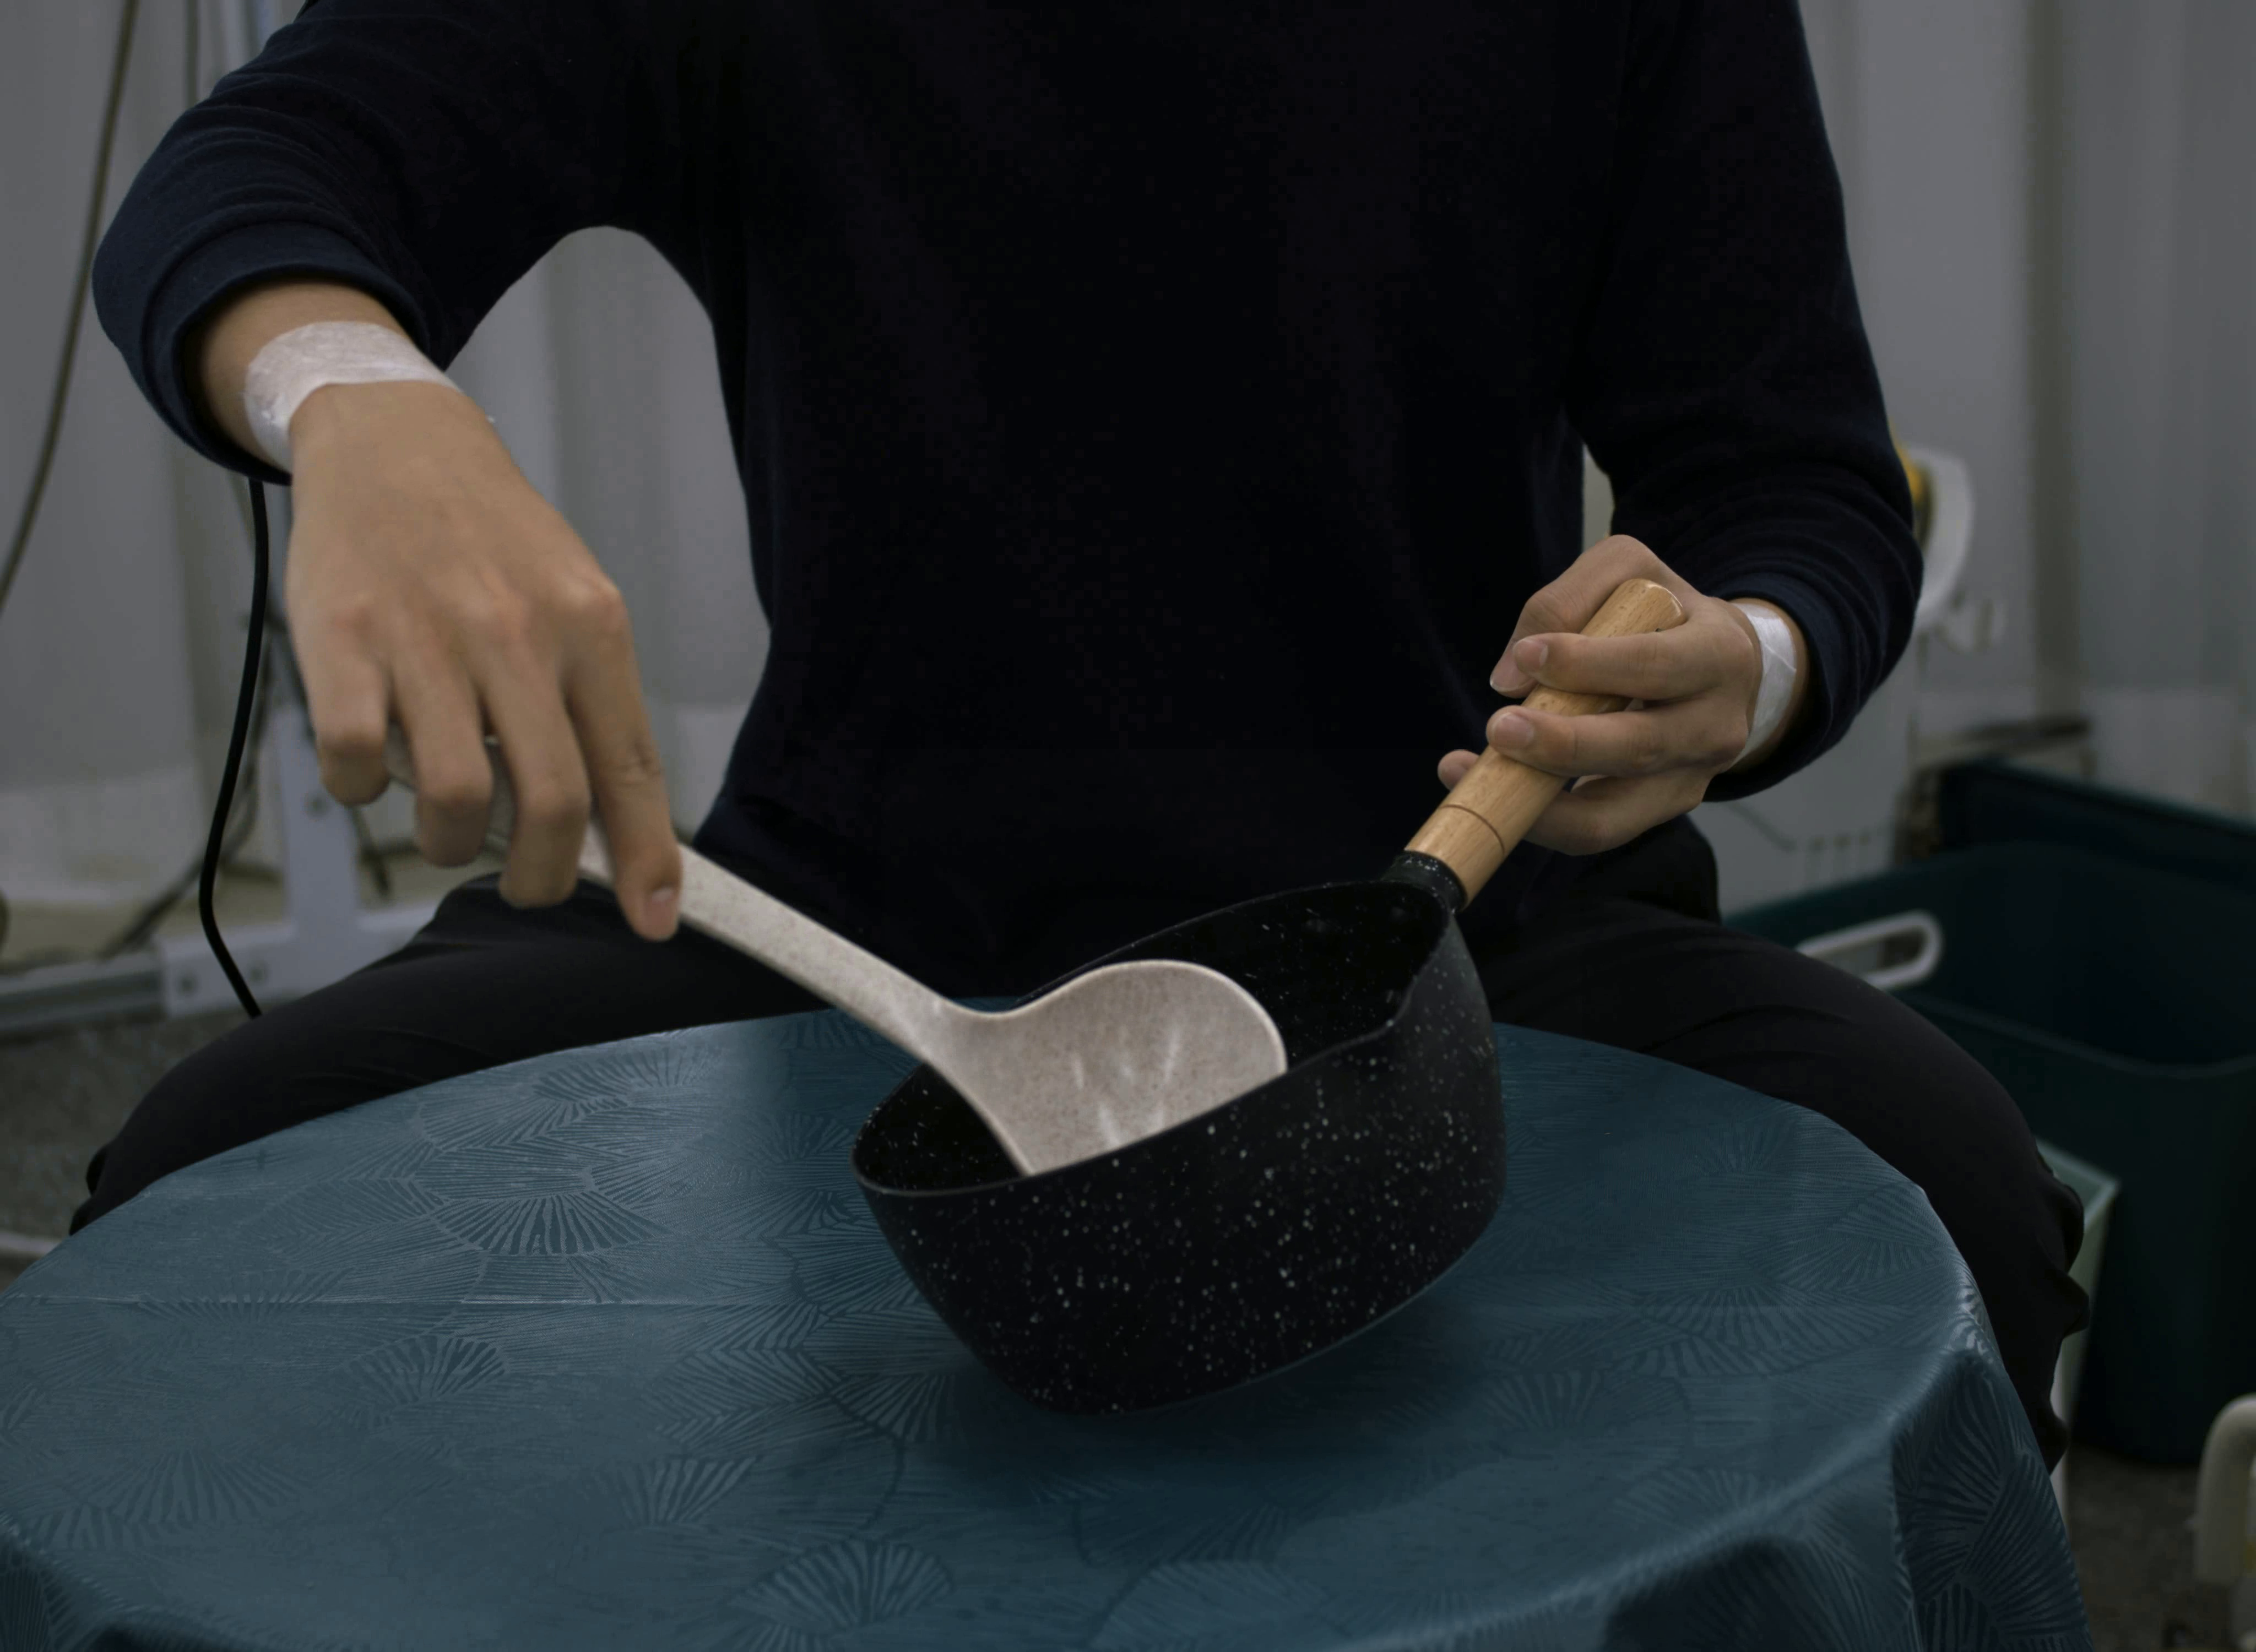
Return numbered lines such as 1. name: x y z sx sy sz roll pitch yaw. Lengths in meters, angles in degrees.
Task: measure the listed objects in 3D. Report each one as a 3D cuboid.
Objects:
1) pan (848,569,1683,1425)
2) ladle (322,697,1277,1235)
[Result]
1. pan: 0.068 0.048 1.591 0.207 0.107 0.344 -9 22 49
2. ladle: -0.081 0.023 1.441 0.272 0.090 0.069 31 -39 -26
